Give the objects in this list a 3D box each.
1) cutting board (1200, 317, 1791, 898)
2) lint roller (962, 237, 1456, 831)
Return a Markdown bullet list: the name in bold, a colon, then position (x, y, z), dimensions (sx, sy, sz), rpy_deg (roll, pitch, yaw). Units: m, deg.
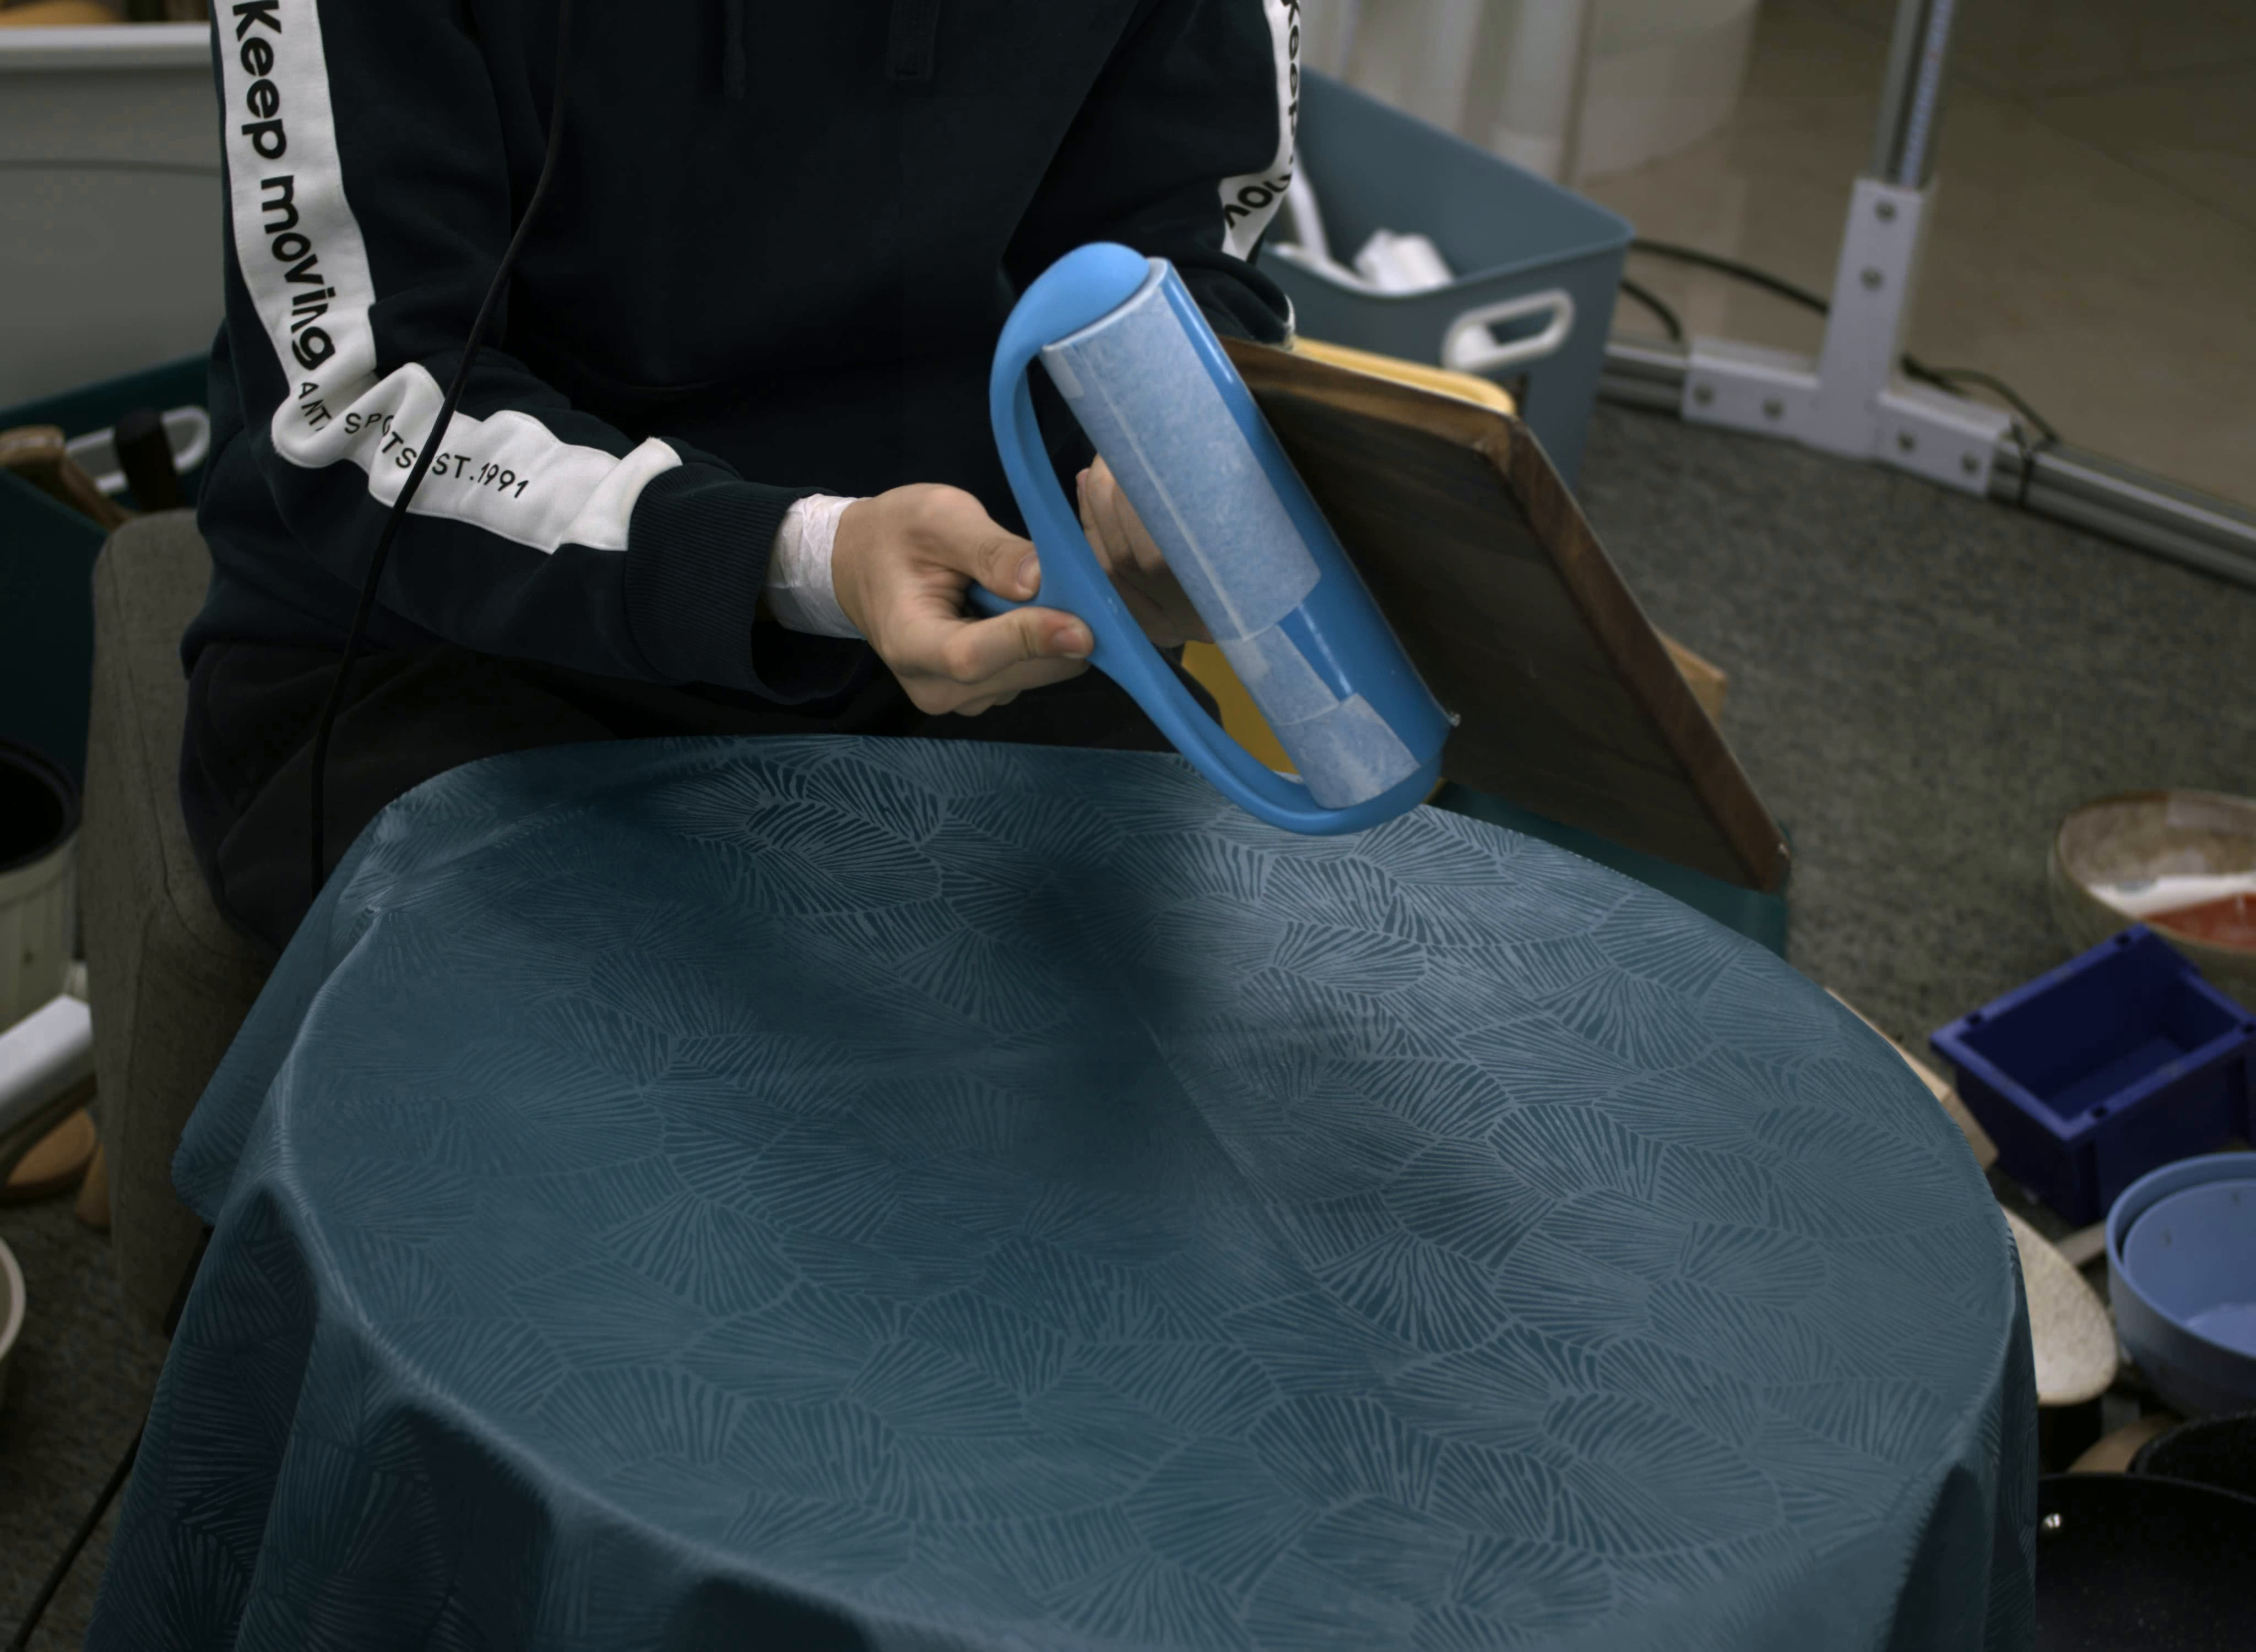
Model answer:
- **cutting board**: position (0.083, -0.088, 1.837), dimensions (0.023, 0.200, 0.354), rpy_deg (-41, 27, -15)
- **lint roller**: position (-0.002, -0.086, 1.826), dimensions (0.181, 0.228, 0.068), rpy_deg (-17, 26, 45)
